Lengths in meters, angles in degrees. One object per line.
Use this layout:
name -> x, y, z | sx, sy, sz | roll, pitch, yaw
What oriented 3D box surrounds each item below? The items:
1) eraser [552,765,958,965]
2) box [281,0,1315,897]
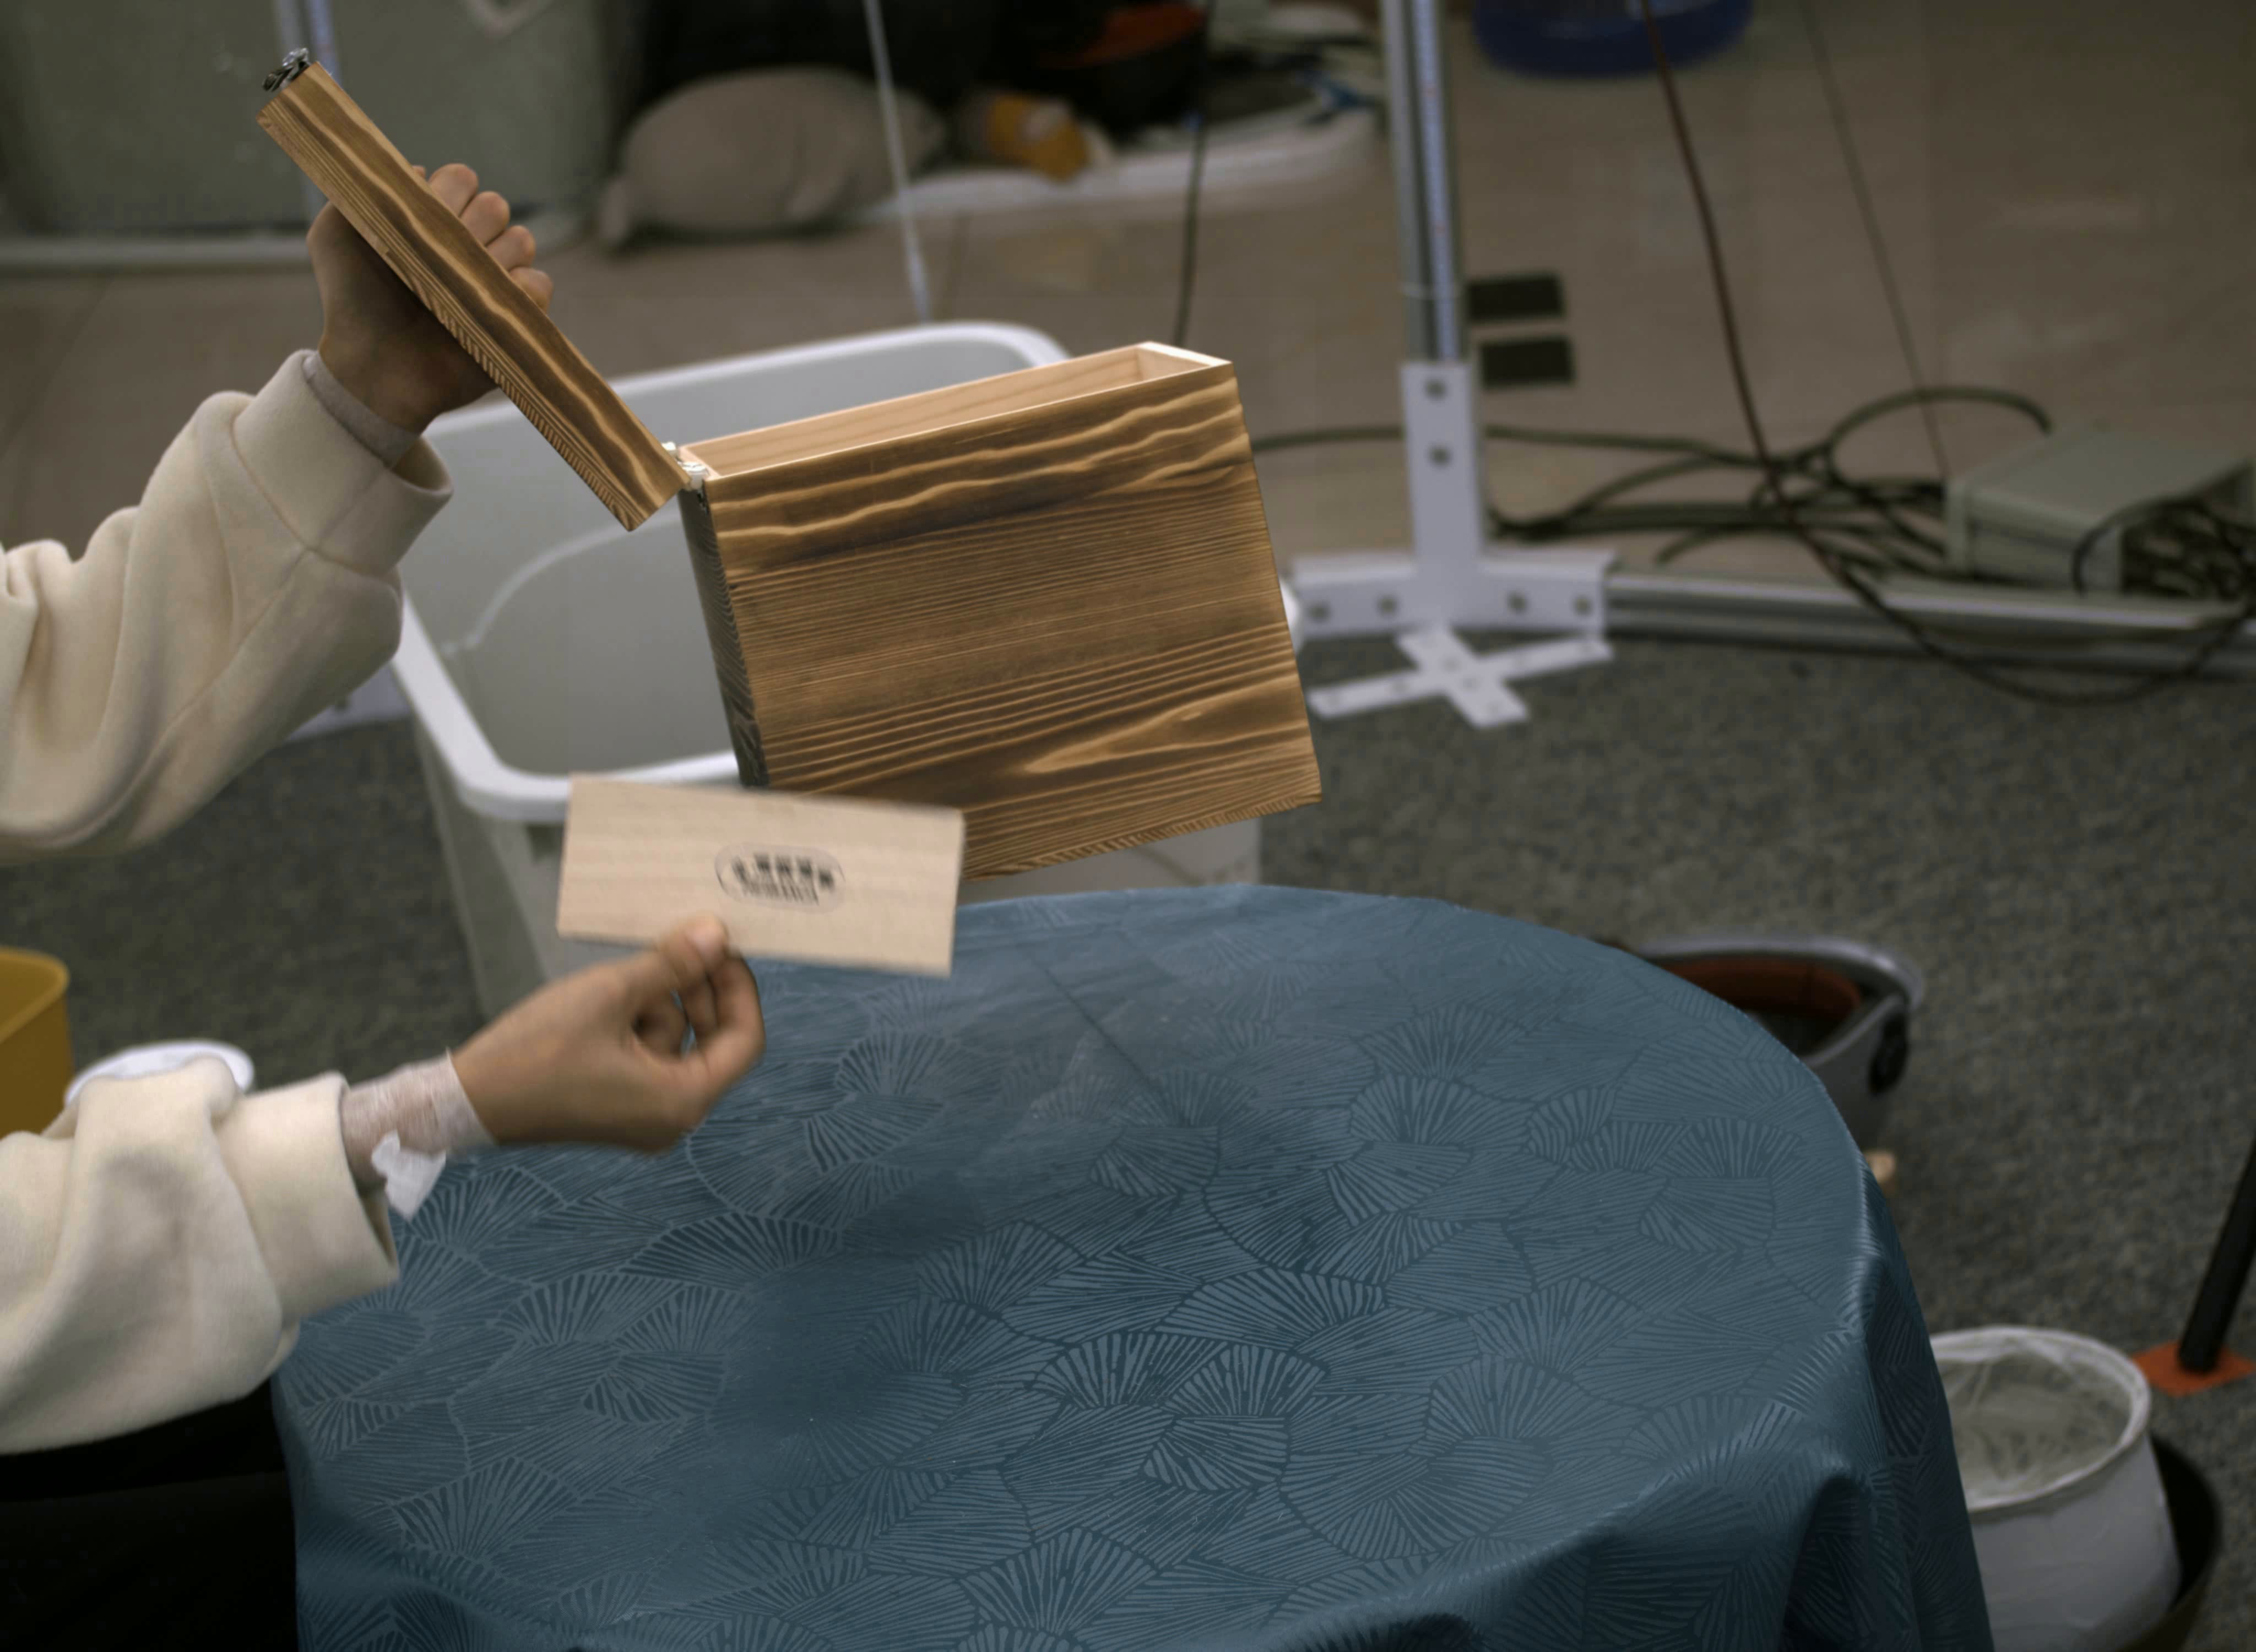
eraser -> -0.131, 0.014, 2.002 | 0.139, 0.057, 0.029 | 6, 2, 3
box -> -0.123, -0.161, 2.147 | 0.321, 0.378, 0.207 | -13, 11, -7
